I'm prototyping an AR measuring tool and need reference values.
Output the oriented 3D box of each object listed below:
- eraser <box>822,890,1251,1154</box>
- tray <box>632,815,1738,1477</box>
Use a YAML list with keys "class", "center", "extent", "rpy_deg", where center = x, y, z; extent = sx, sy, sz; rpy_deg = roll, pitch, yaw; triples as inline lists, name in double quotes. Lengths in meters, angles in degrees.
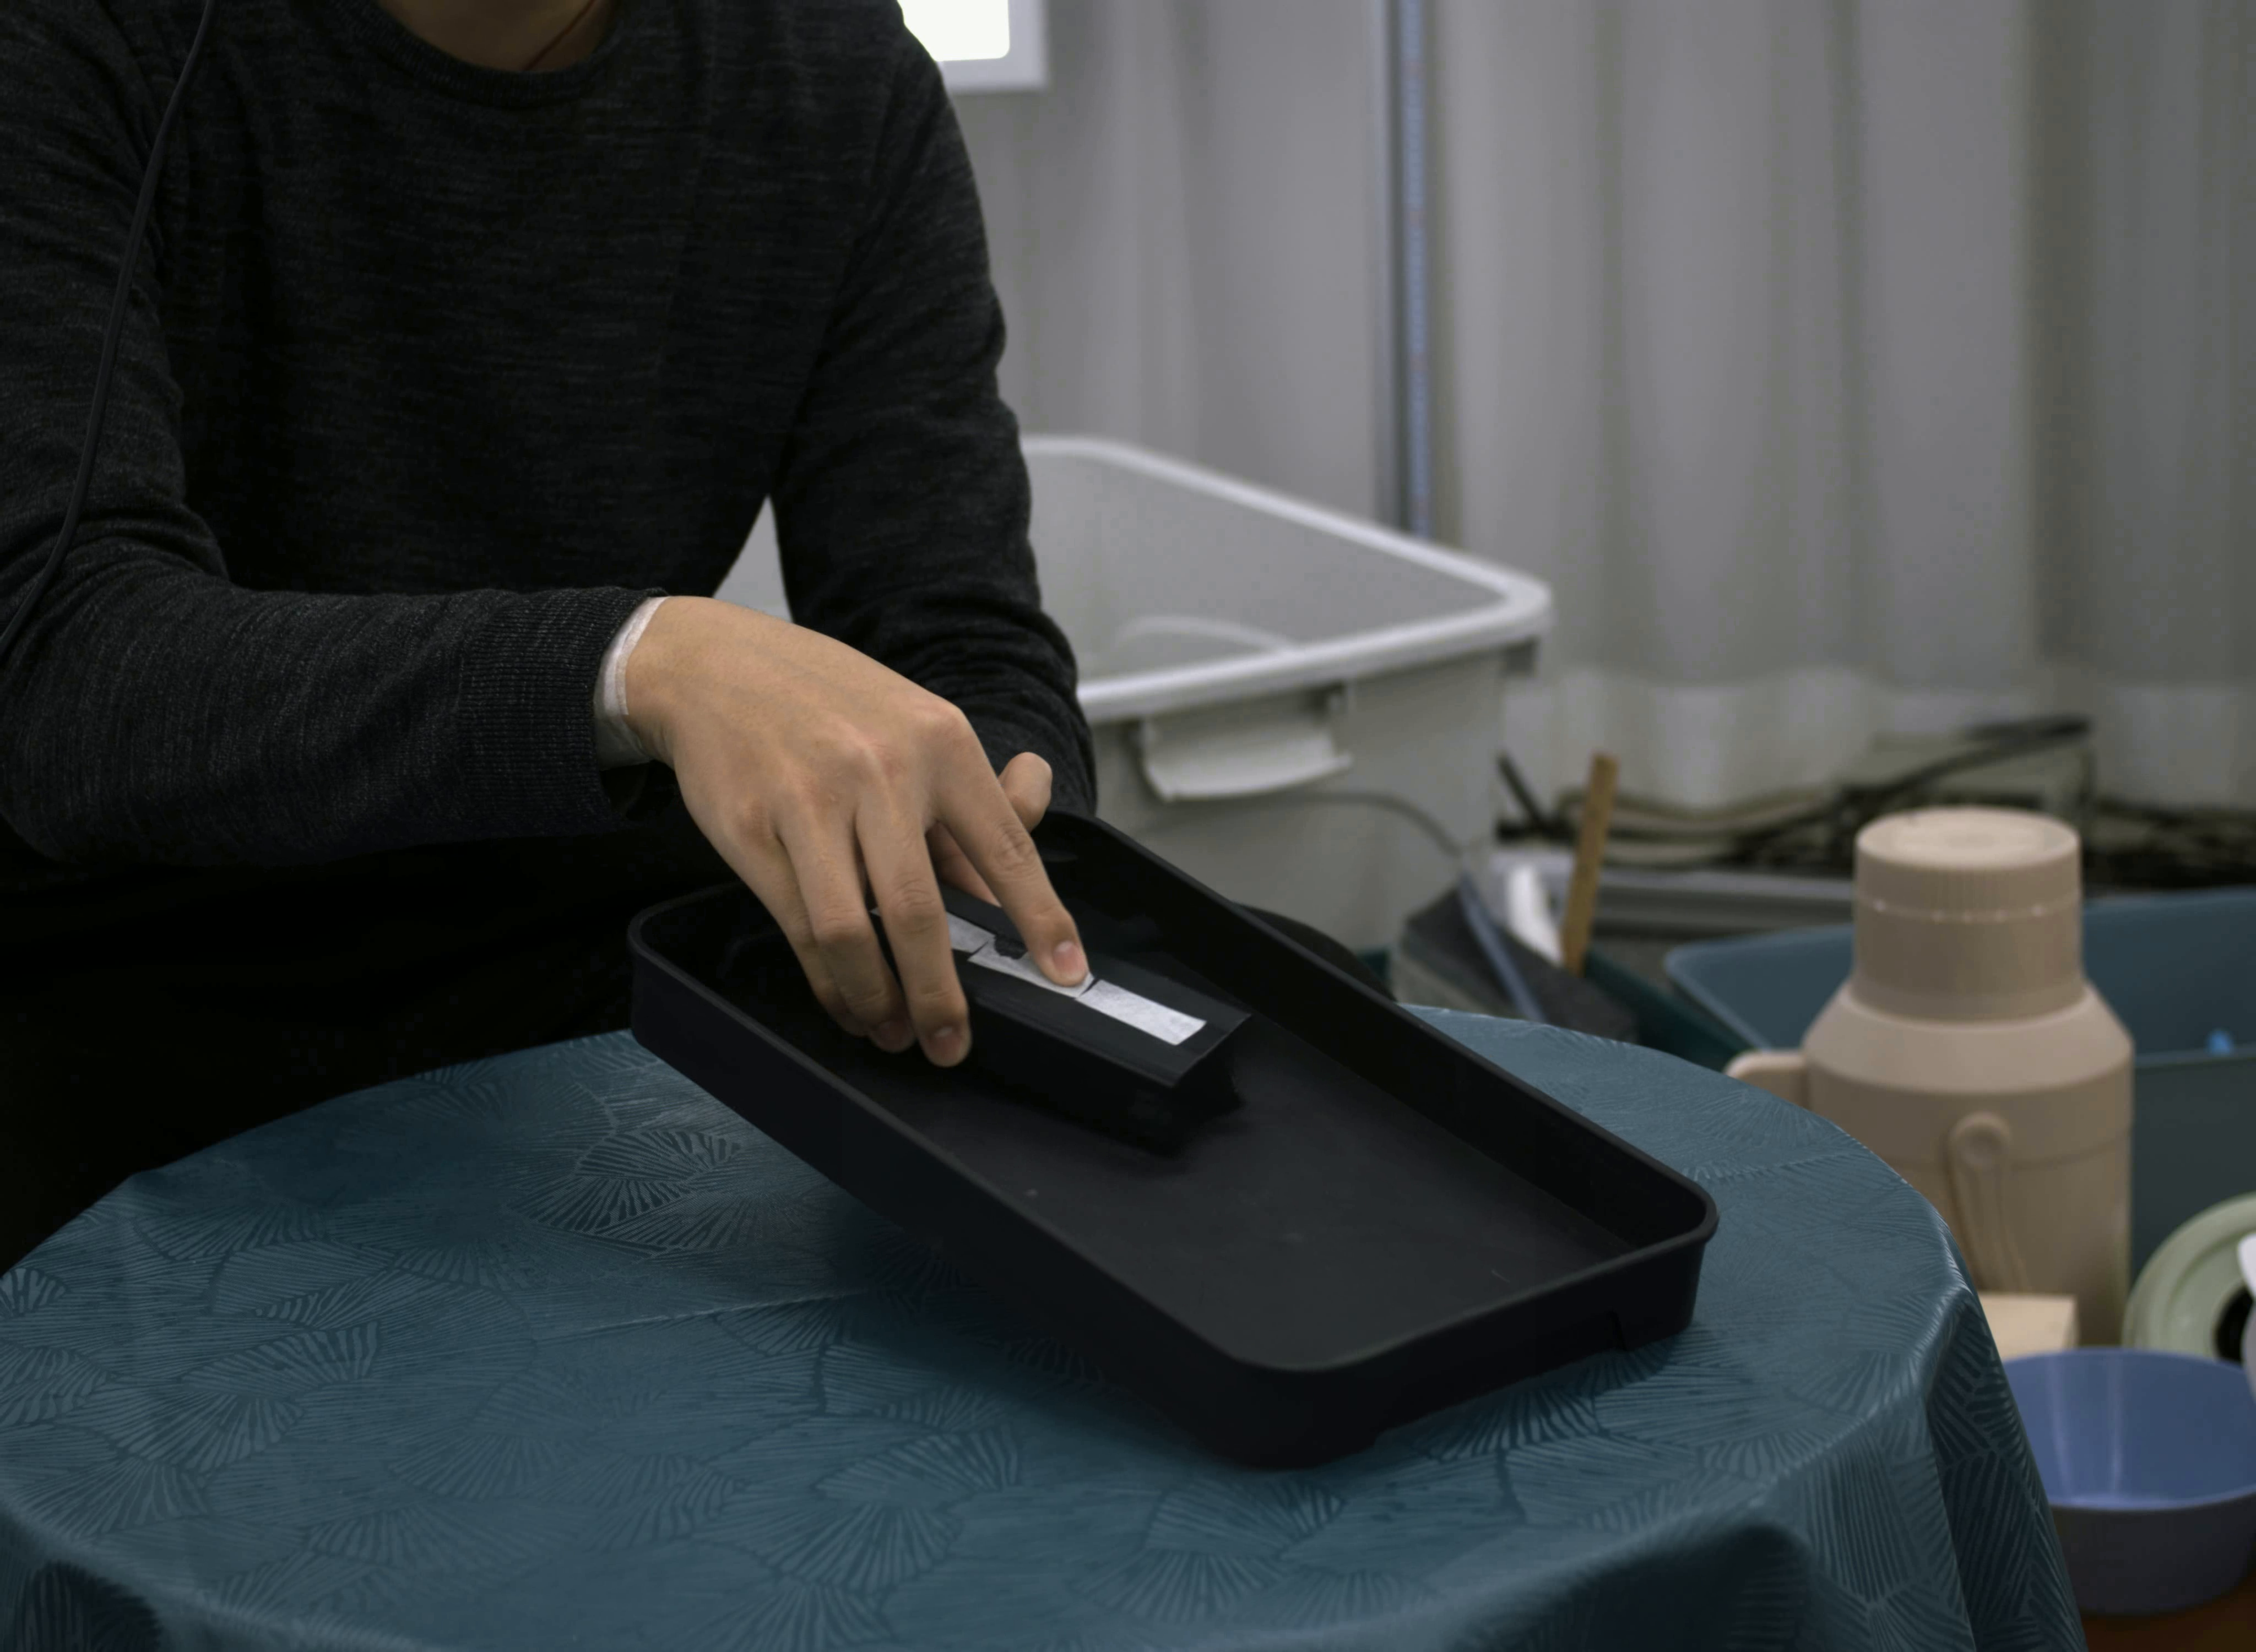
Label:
- class: "eraser"
  center: [-0.028, 0.058, 1.660]
  extent: [0.126, 0.030, 0.054]
  rpy_deg: [21, 30, 23]
- class: "tray"
  center: [0.011, 0.087, 1.619]
  extent: [0.184, 0.037, 0.321]
  rpy_deg: [-16, 32, -39]
